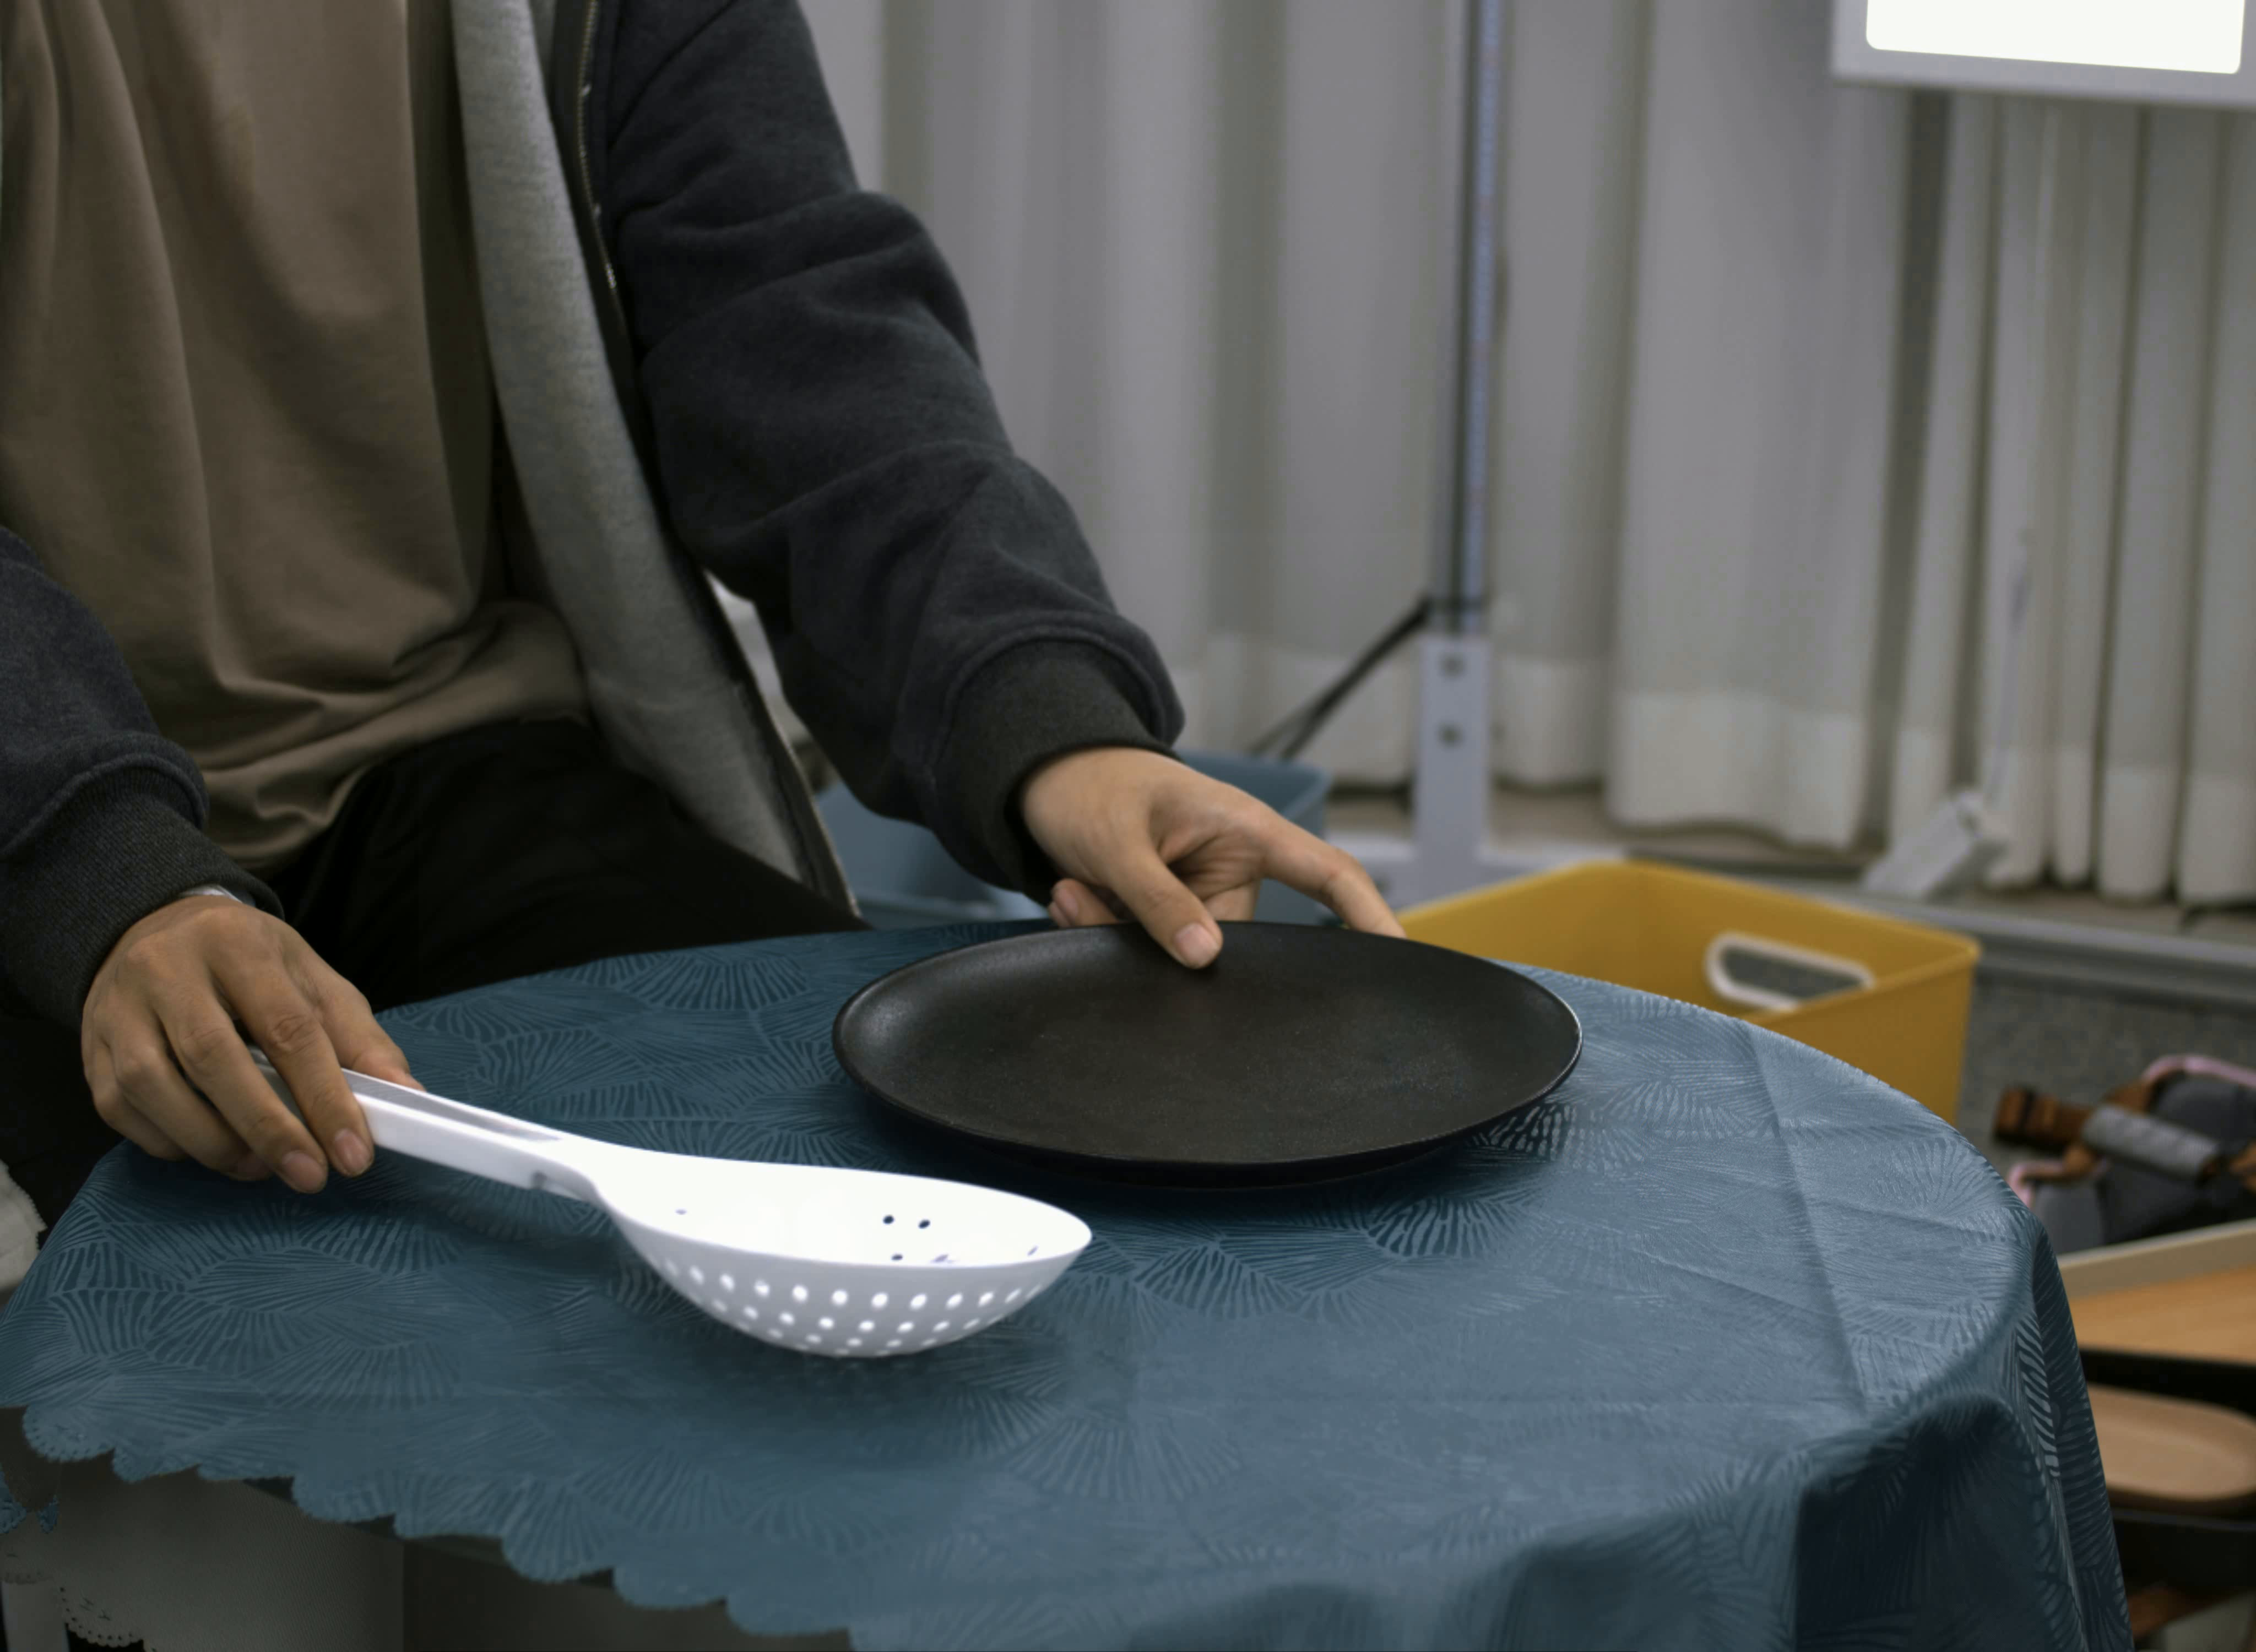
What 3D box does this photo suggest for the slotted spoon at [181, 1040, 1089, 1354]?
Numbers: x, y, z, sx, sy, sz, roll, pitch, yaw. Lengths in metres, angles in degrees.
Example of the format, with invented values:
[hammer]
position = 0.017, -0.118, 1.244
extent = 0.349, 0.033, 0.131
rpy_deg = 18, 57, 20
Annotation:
[slotted spoon]
position = -0.160, 0.100, 1.548
extent = 0.345, 0.046, 0.137
rpy_deg = 17, 10, 39

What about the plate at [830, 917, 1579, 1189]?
[plate]
position = 0.024, 0.076, 1.706
extent = 0.243, 0.023, 0.243
rpy_deg = 1, 17, 0
